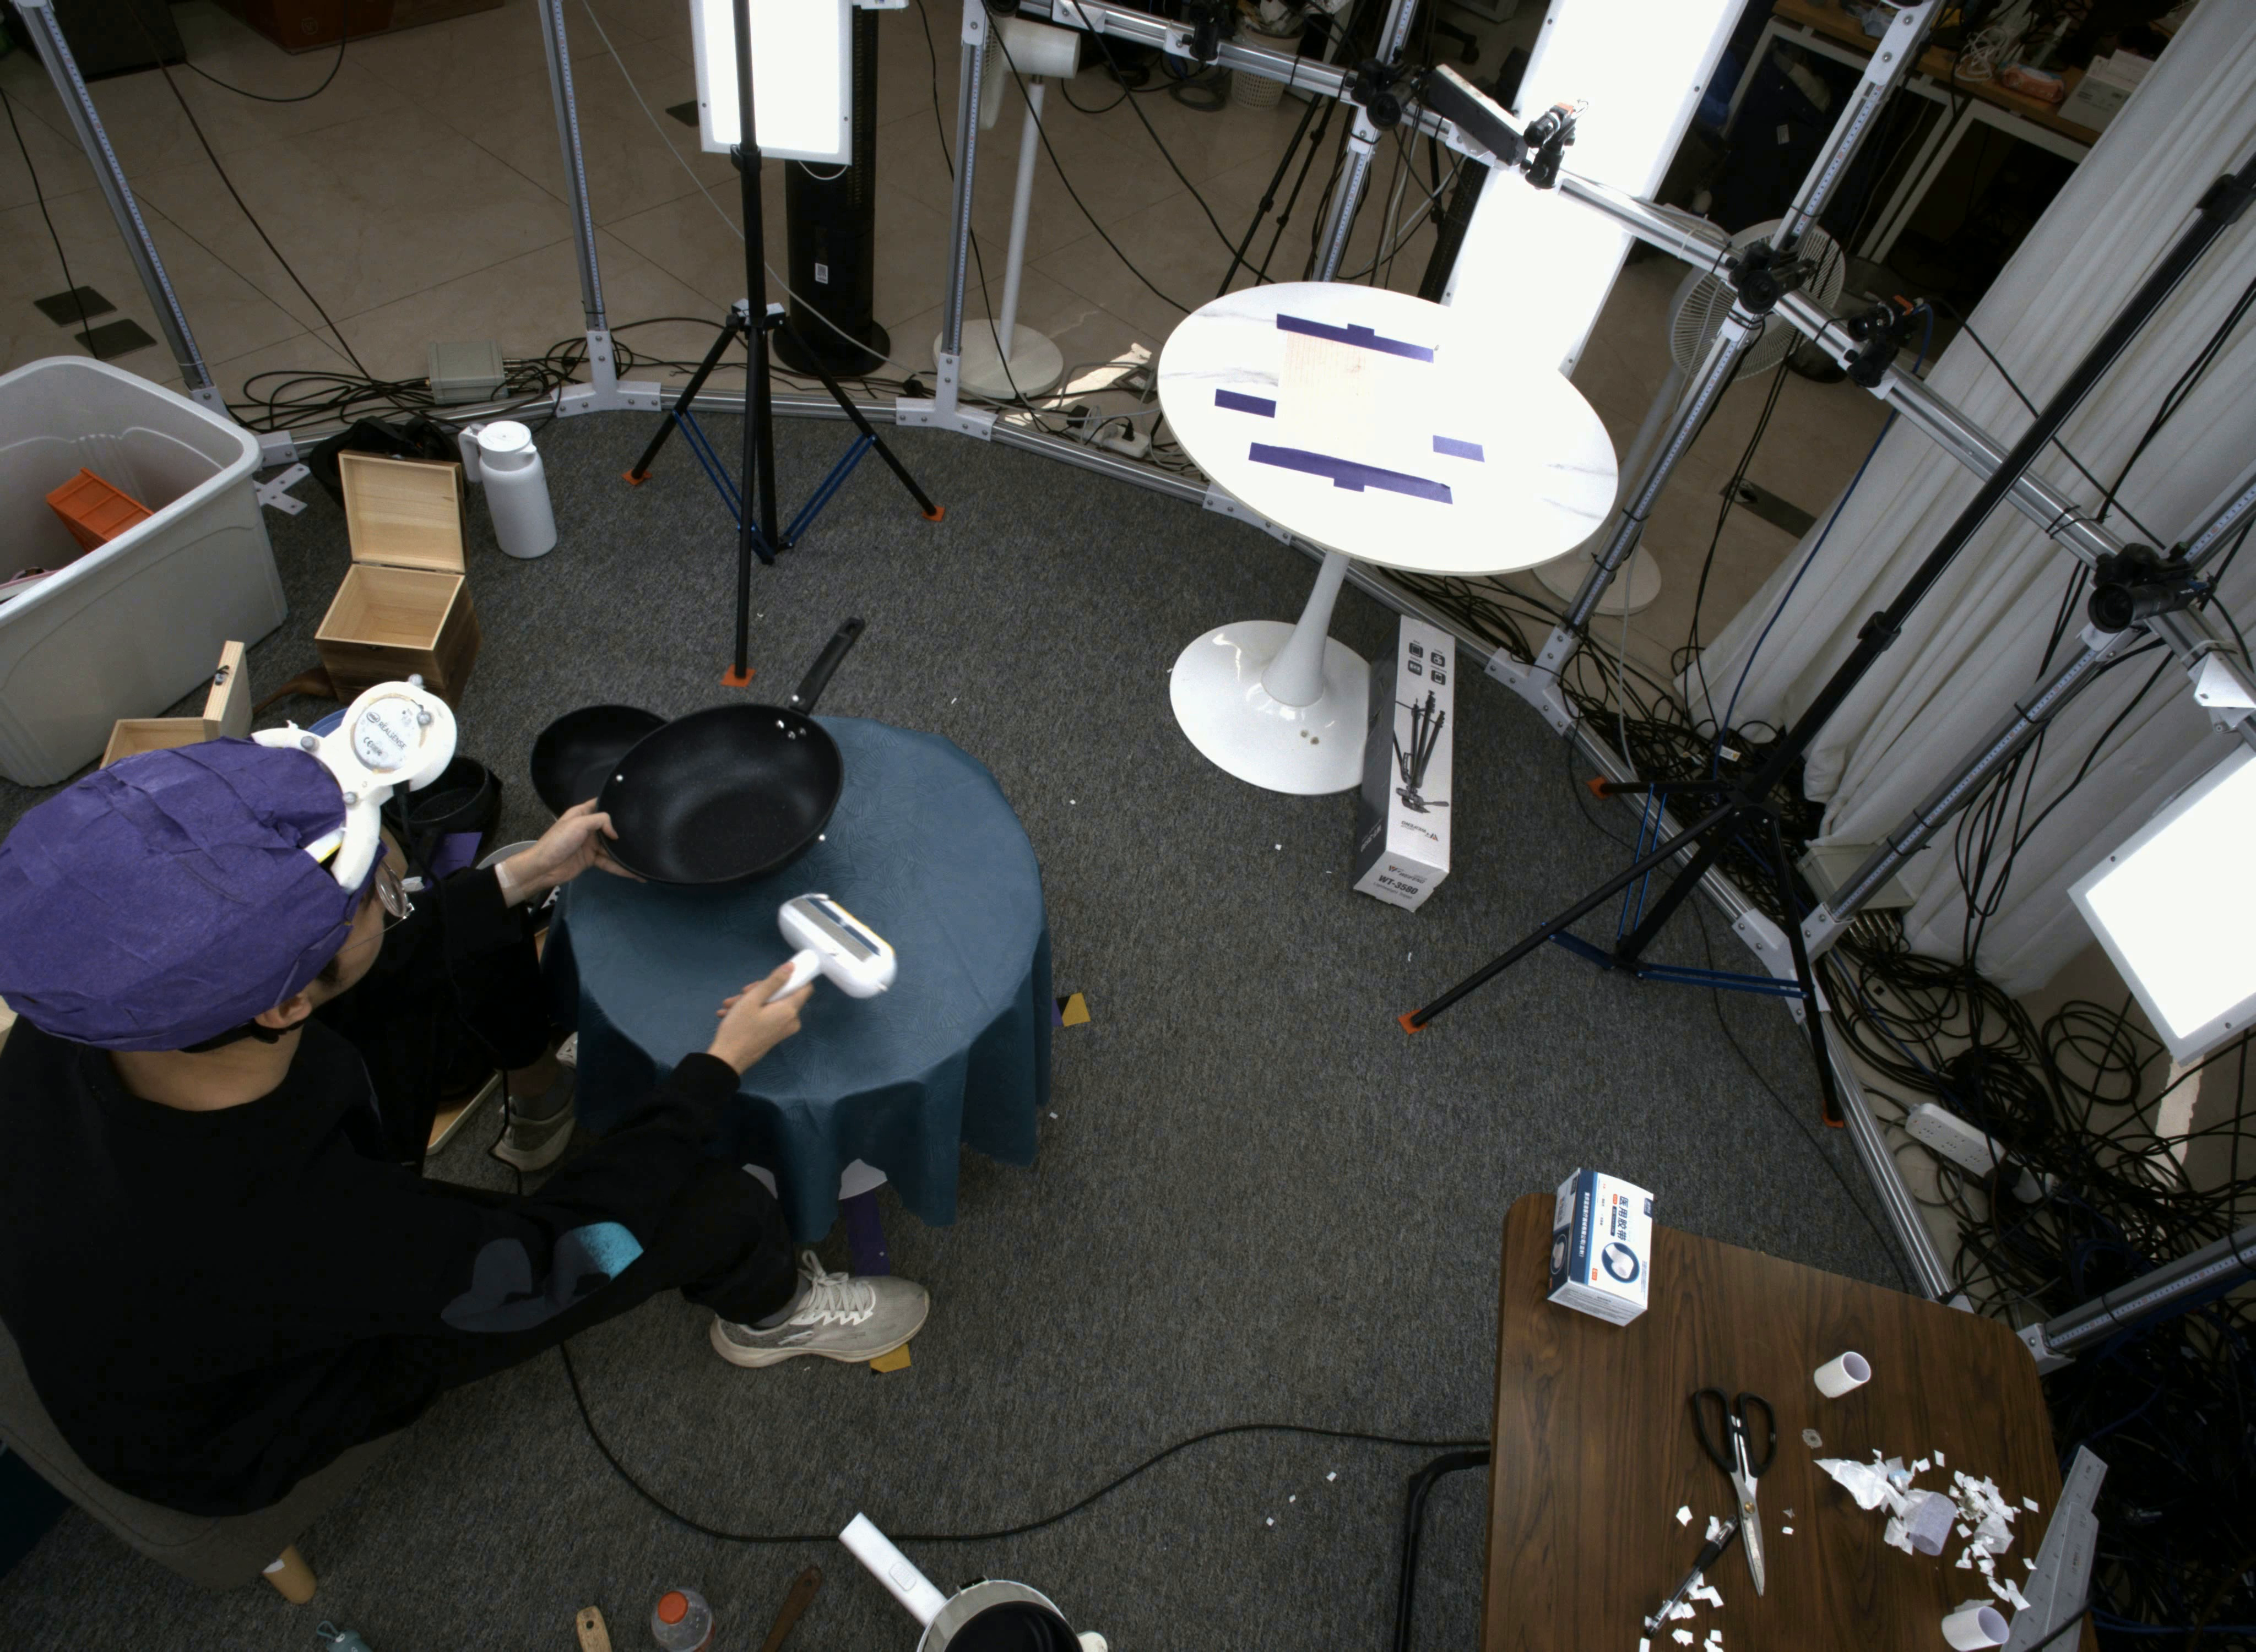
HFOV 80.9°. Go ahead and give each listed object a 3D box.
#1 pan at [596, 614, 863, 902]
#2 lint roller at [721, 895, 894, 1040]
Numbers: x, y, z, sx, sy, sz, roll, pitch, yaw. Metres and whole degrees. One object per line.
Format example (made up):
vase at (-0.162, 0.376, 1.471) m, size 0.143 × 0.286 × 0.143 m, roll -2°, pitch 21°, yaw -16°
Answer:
pan at (-0.471, -0.084, 1.662) m, size 0.302 × 0.115 × 0.474 m, roll 20°, pitch 54°, yaw 16°
lint roller at (-0.388, 0.170, 1.499) m, size 0.193 × 0.077 × 0.185 m, roll -31°, pitch 45°, yaw -27°
